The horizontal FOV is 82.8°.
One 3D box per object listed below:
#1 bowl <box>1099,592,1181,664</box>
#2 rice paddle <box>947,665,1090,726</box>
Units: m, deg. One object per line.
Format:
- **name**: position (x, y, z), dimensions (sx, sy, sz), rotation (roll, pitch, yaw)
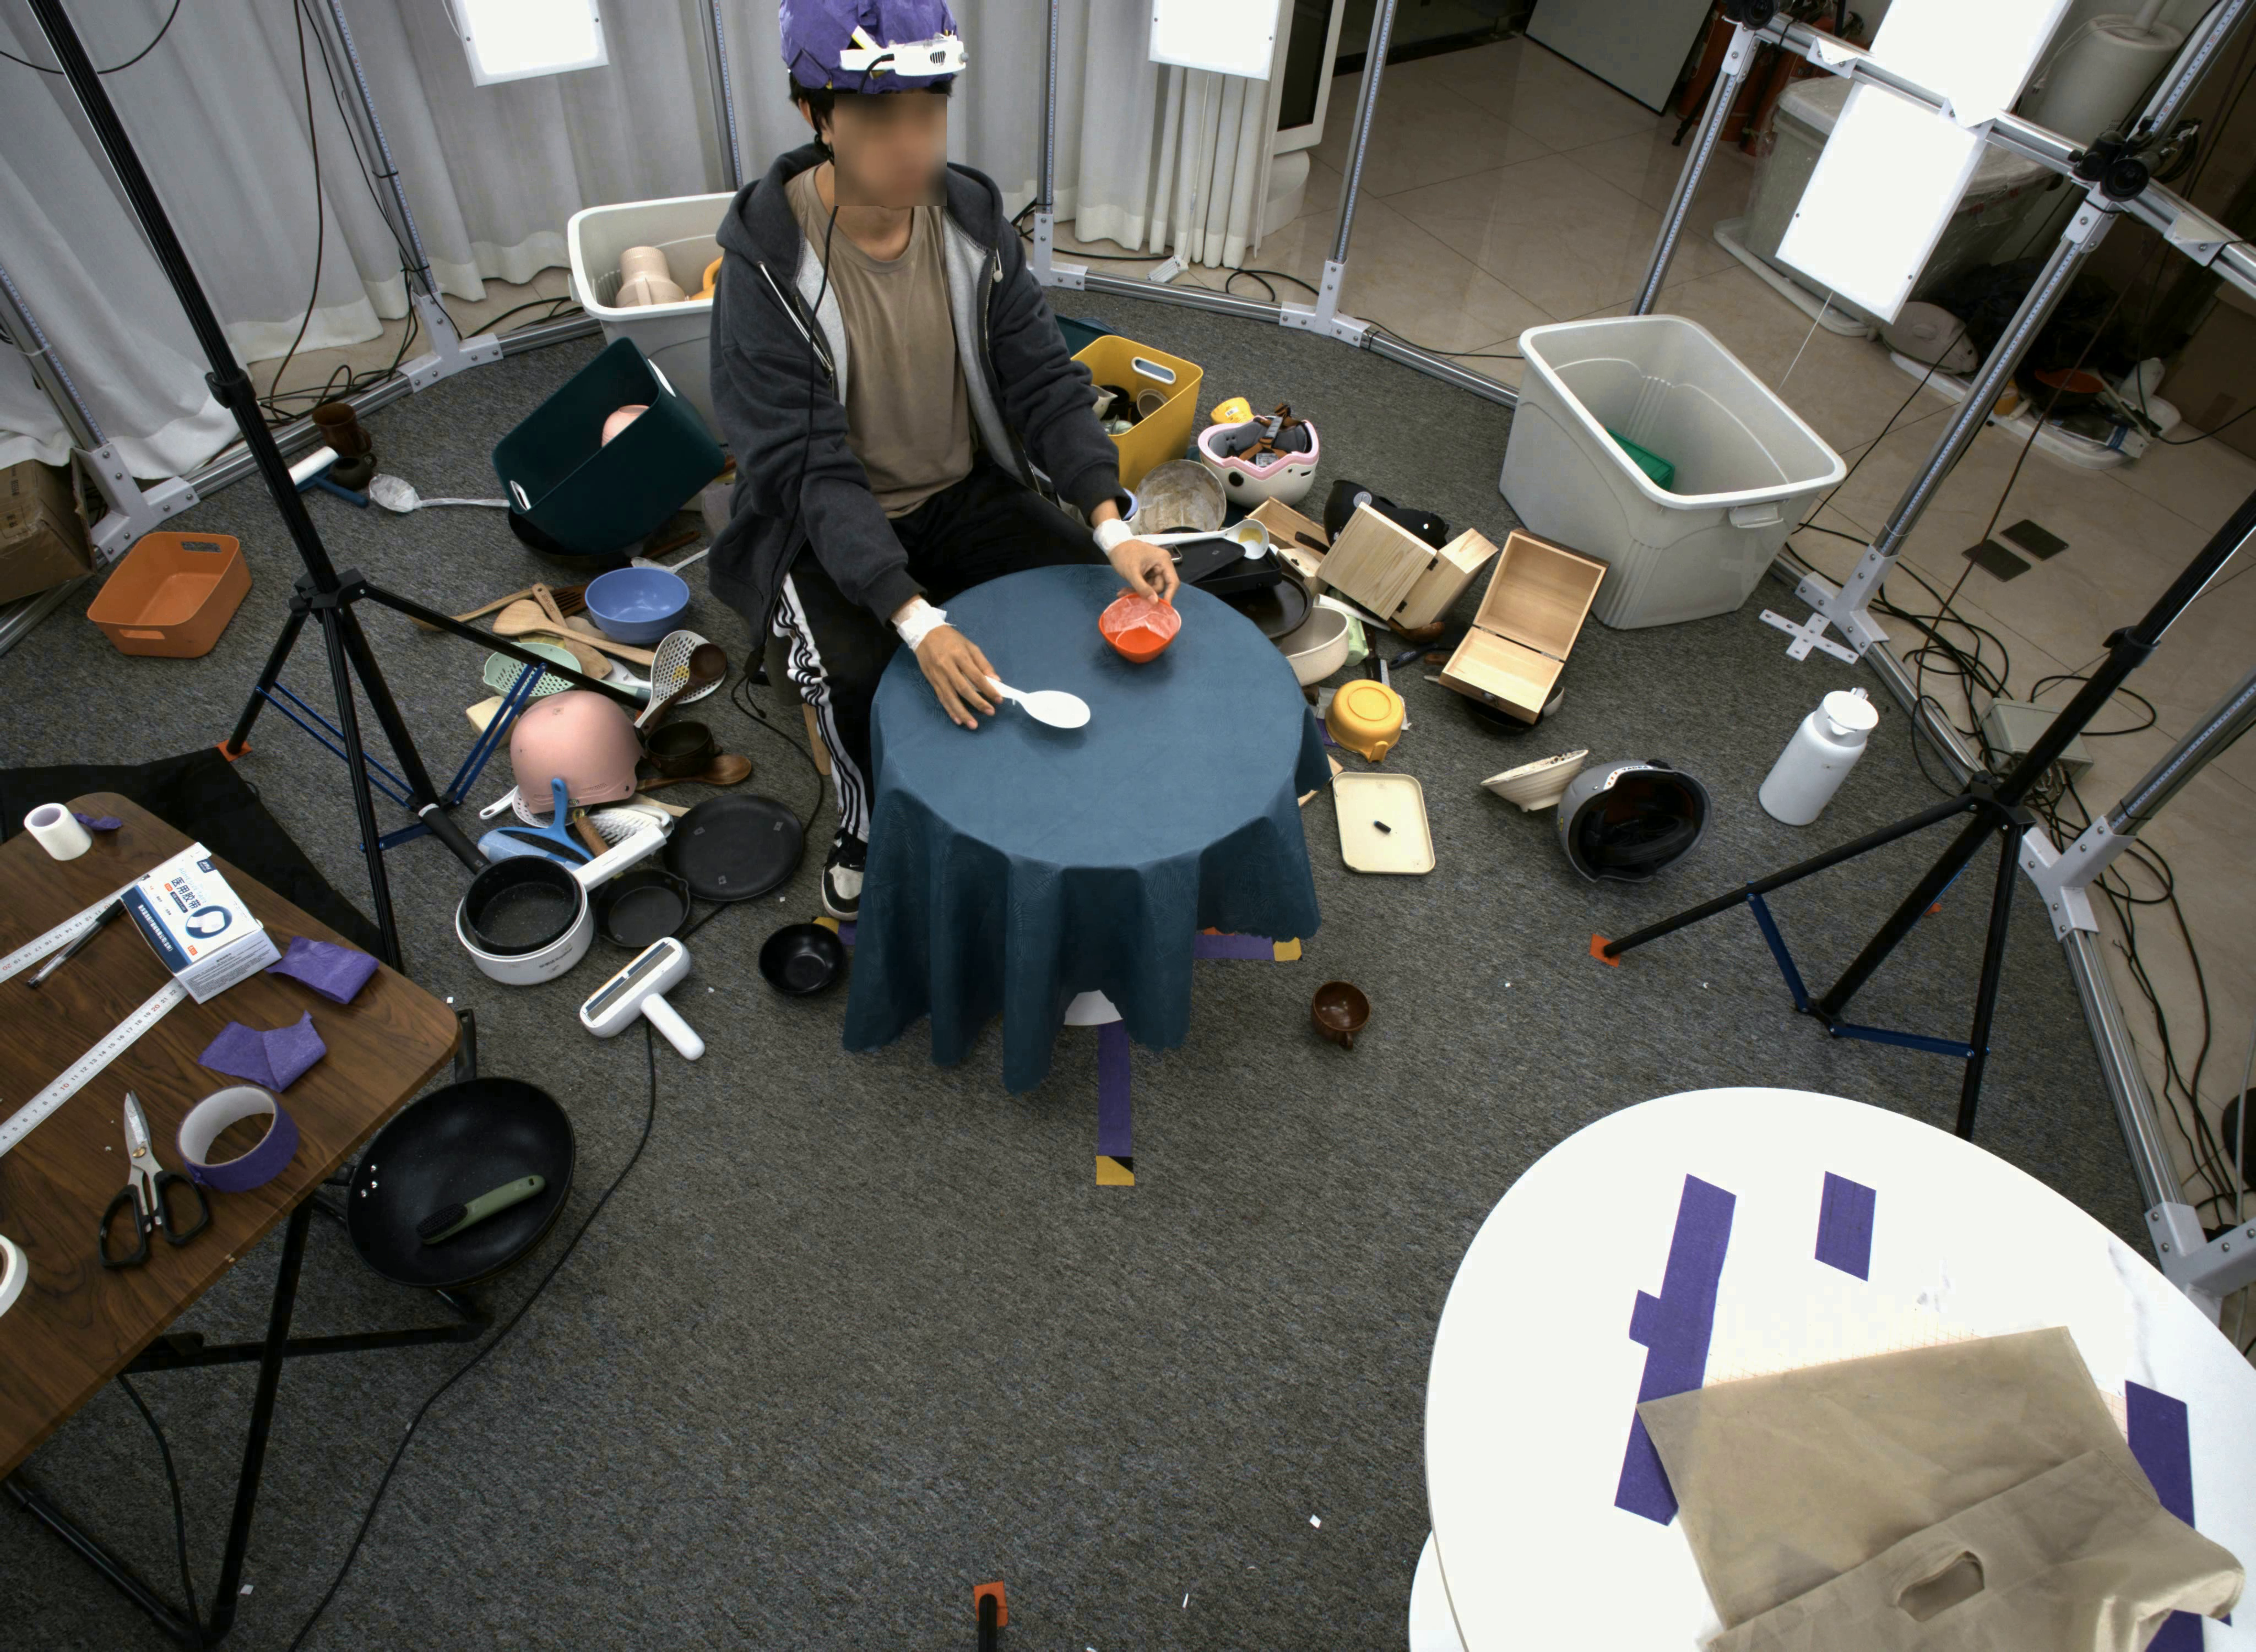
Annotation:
- **bowl**: position (0.017, -0.282, 1.873), dimensions (0.119, 0.050, 0.122), rotation (-1, 55, 1)
- **rice paddle**: position (-0.150, -0.182, 1.775), dimensions (0.206, 0.029, 0.070), rotation (18, 48, 11)
